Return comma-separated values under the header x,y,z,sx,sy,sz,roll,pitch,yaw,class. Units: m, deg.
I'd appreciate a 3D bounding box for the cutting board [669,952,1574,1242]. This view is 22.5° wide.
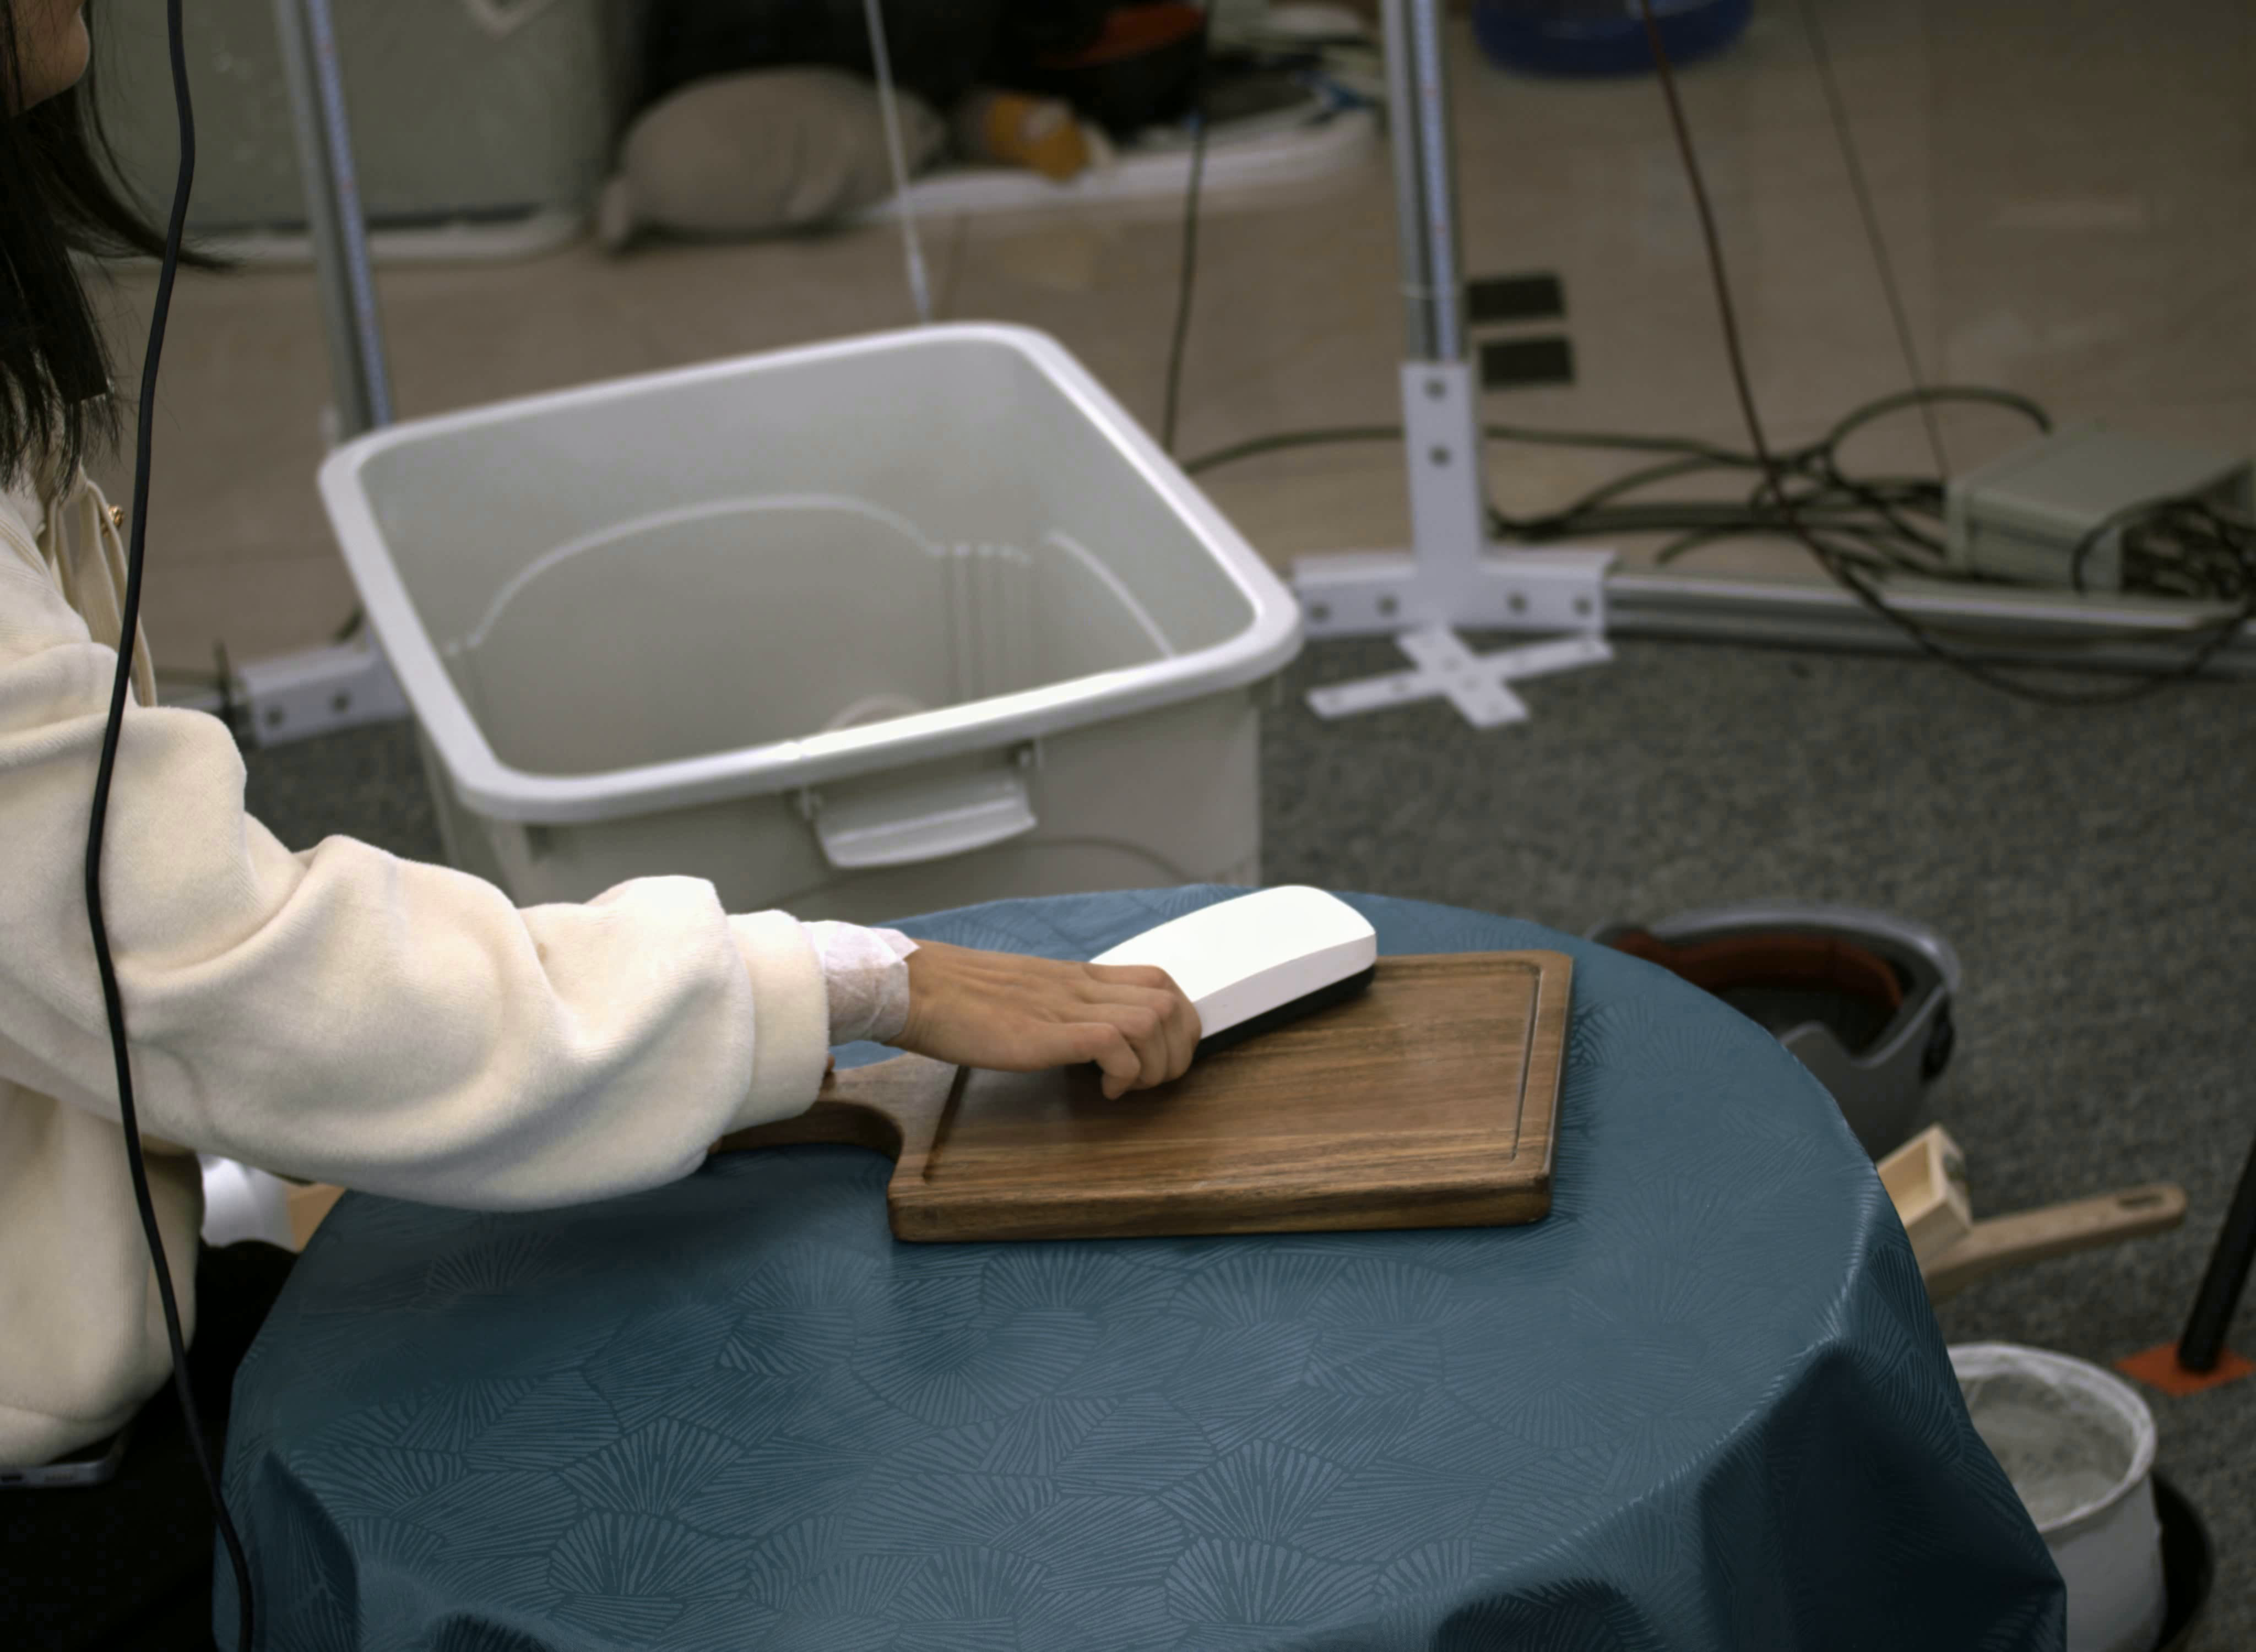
x,y,z,sx,sy,sz,roll,pitch,yaw,class
-0.005,0.105,2.198,0.351,0.023,0.198,-2,25,9,cutting board

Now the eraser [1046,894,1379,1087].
x,y,z,sx,sy,sz,roll,pitch,yaw,class
0.033,0.061,2.229,0.130,0.035,0.062,-20,29,-23,eraser
